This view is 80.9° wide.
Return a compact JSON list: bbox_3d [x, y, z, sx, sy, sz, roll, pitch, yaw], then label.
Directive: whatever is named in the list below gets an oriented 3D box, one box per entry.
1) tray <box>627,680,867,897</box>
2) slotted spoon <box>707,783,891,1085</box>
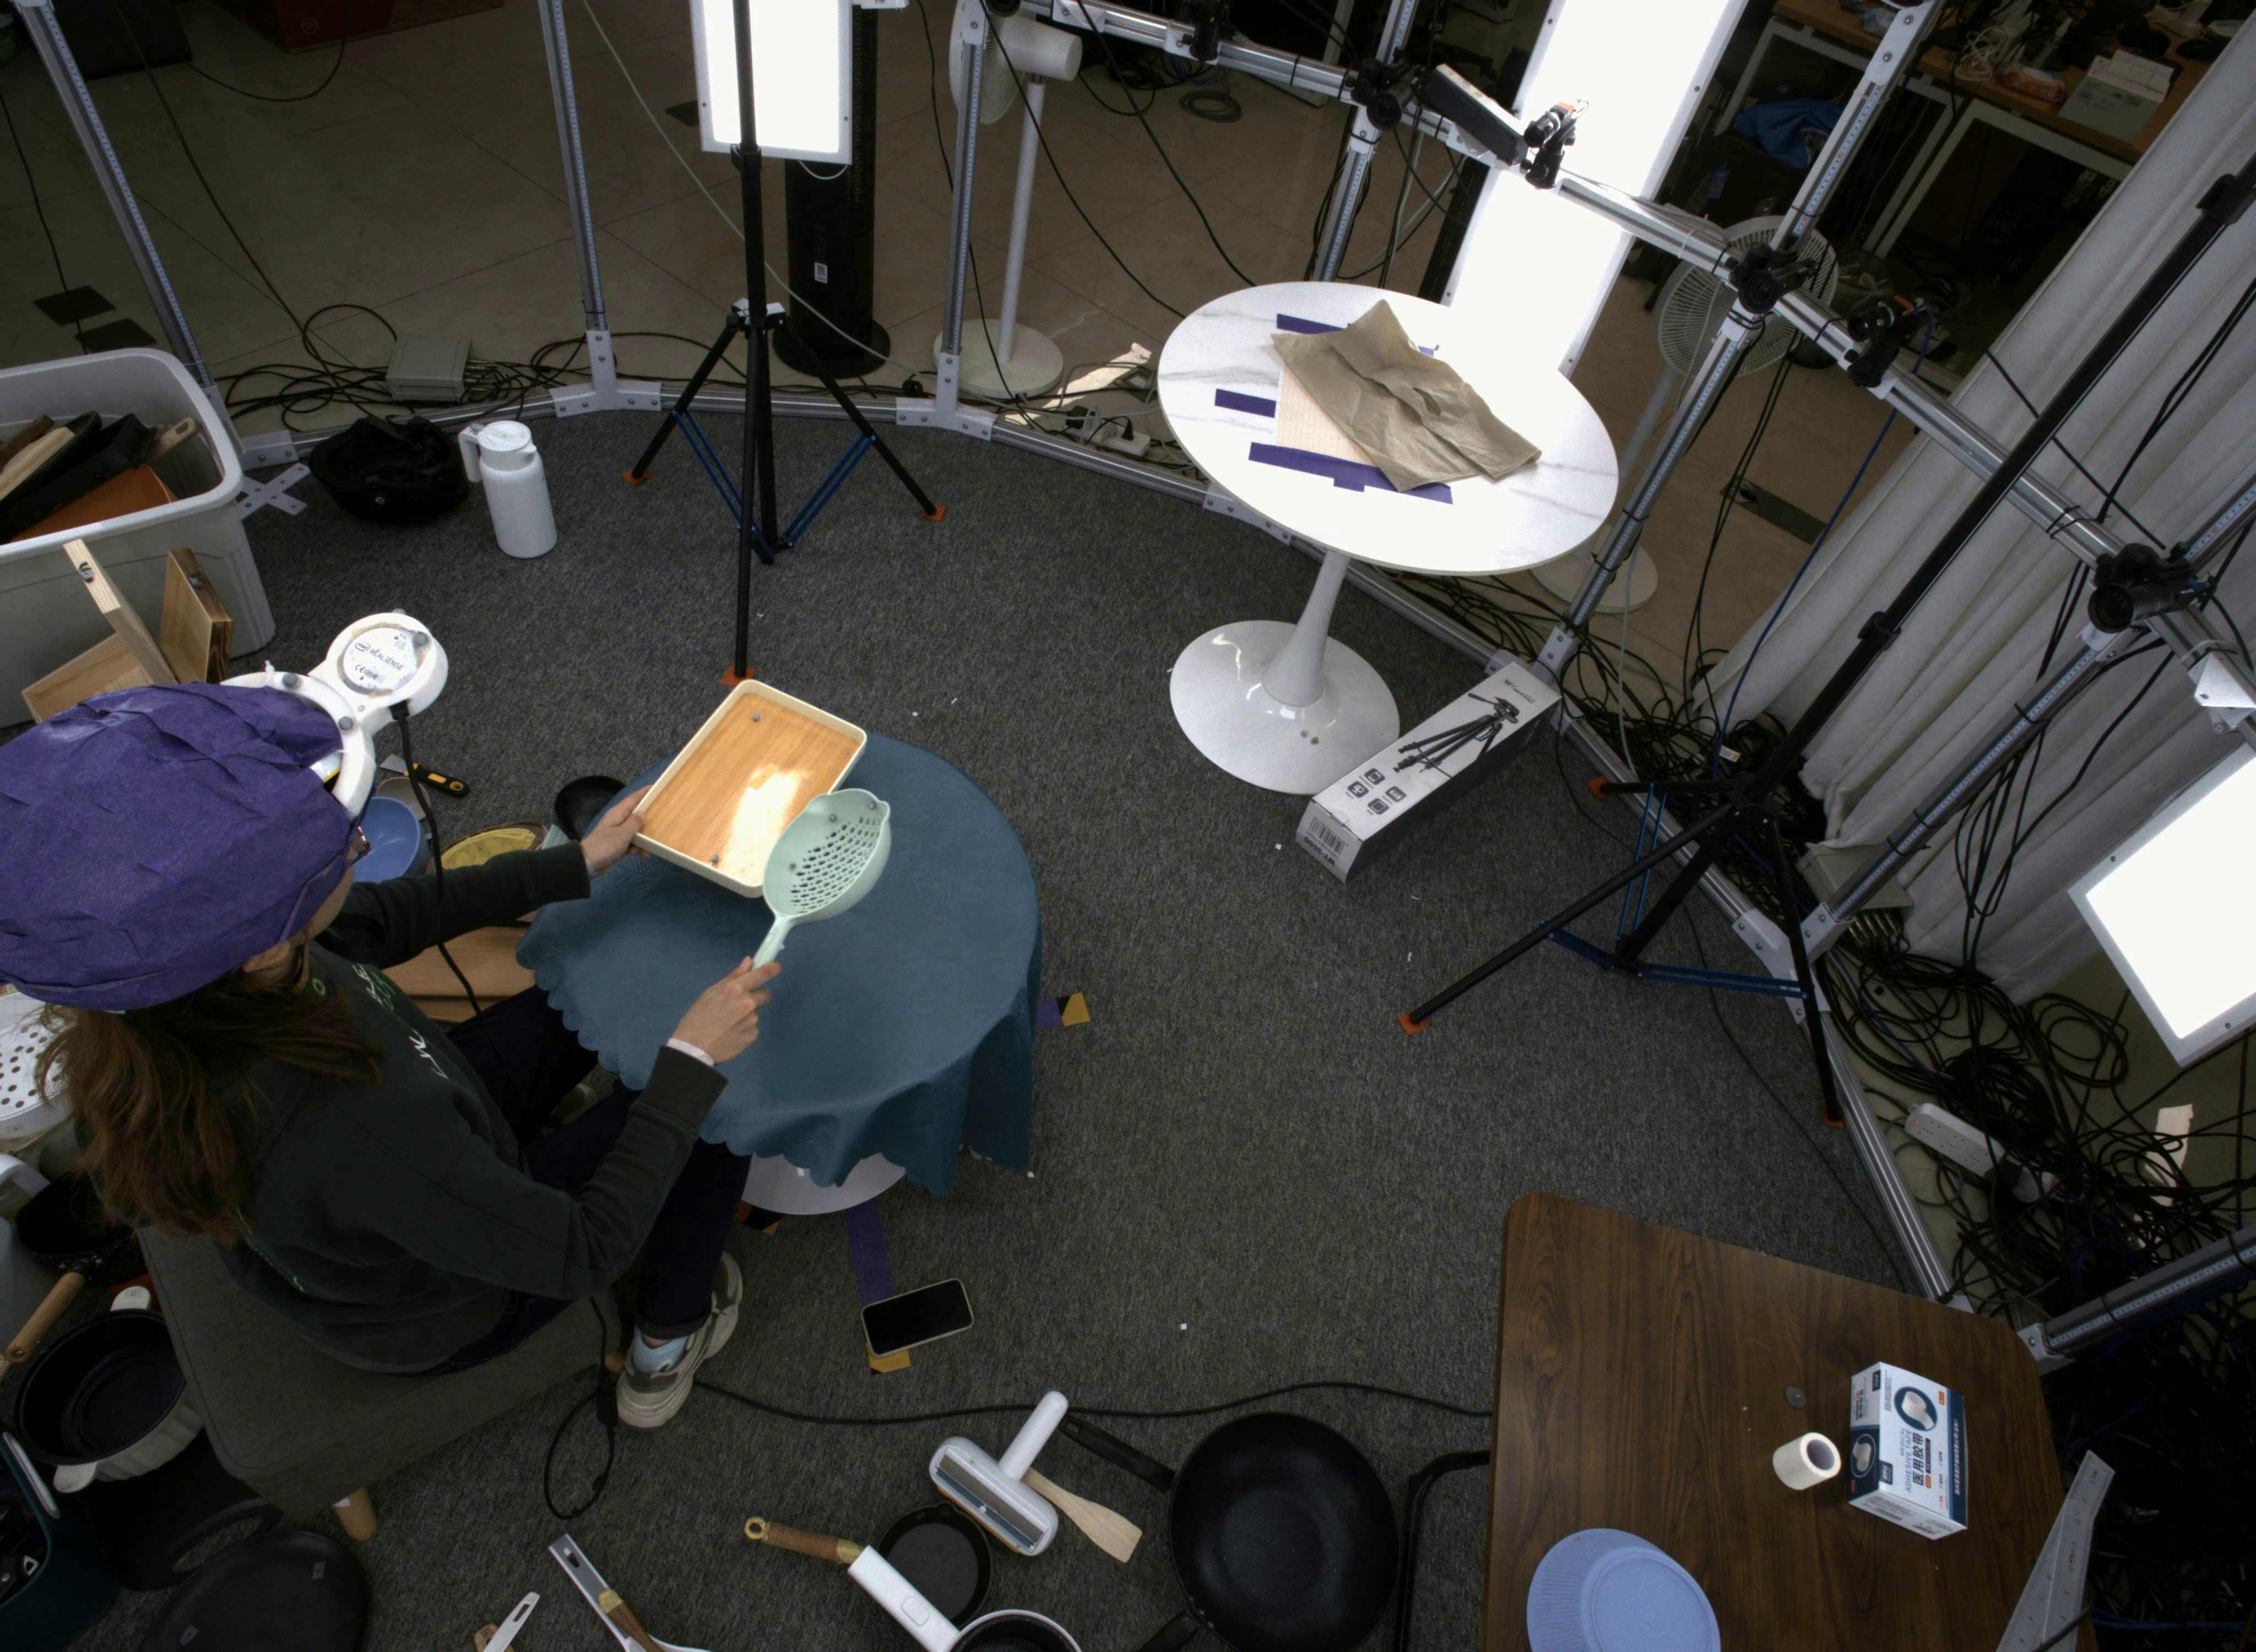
[{"bbox_3d":[-0.481,-0.056,1.650,0.190,0.028,0.297,26,49,0],"label":"tray"},{"bbox_3d":[-0.375,0.110,1.424,0.163,0.078,0.357,7,54,38],"label":"slotted spoon"}]
